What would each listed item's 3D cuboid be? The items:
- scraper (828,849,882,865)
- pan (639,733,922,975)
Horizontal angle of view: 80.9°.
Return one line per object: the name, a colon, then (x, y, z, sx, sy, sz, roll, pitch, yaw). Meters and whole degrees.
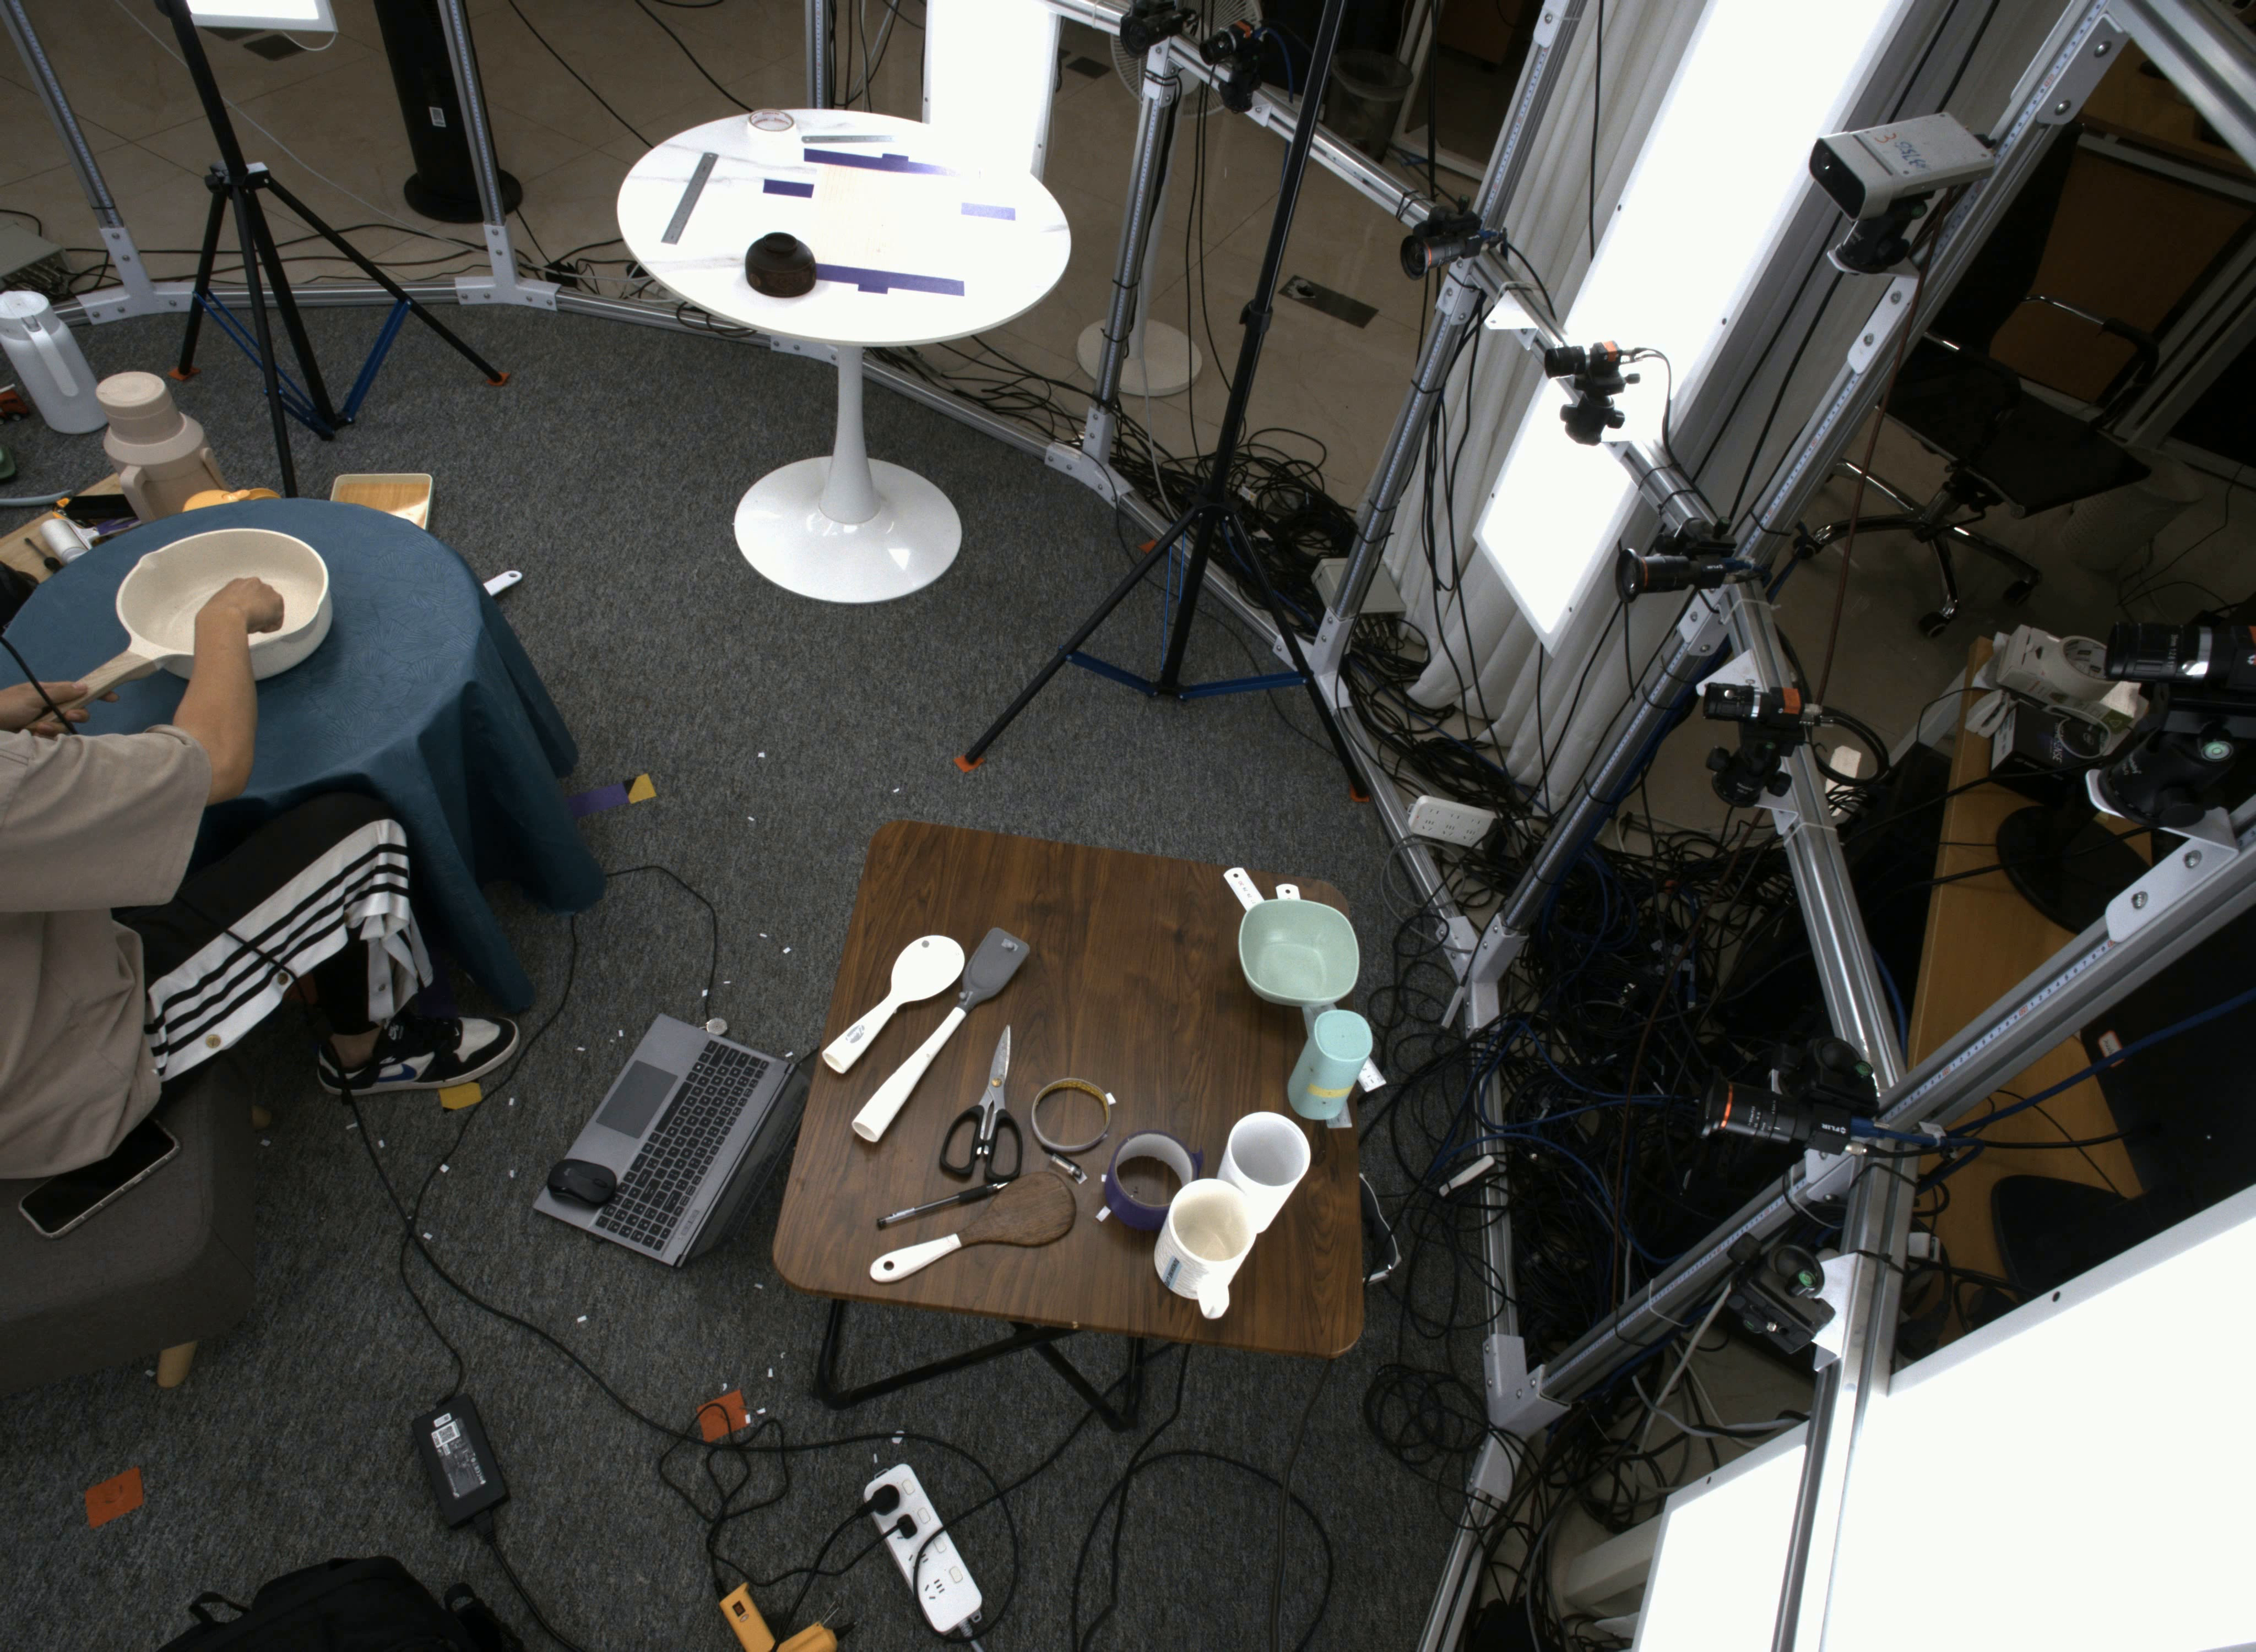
scraper: (-0.331, 0.035, 1.579, 0.039, 0.166, 0.015, 1, 92, -24)
pan: (-0.445, 0.053, 1.630, 0.259, 0.104, 0.434, 35, 54, 10)
